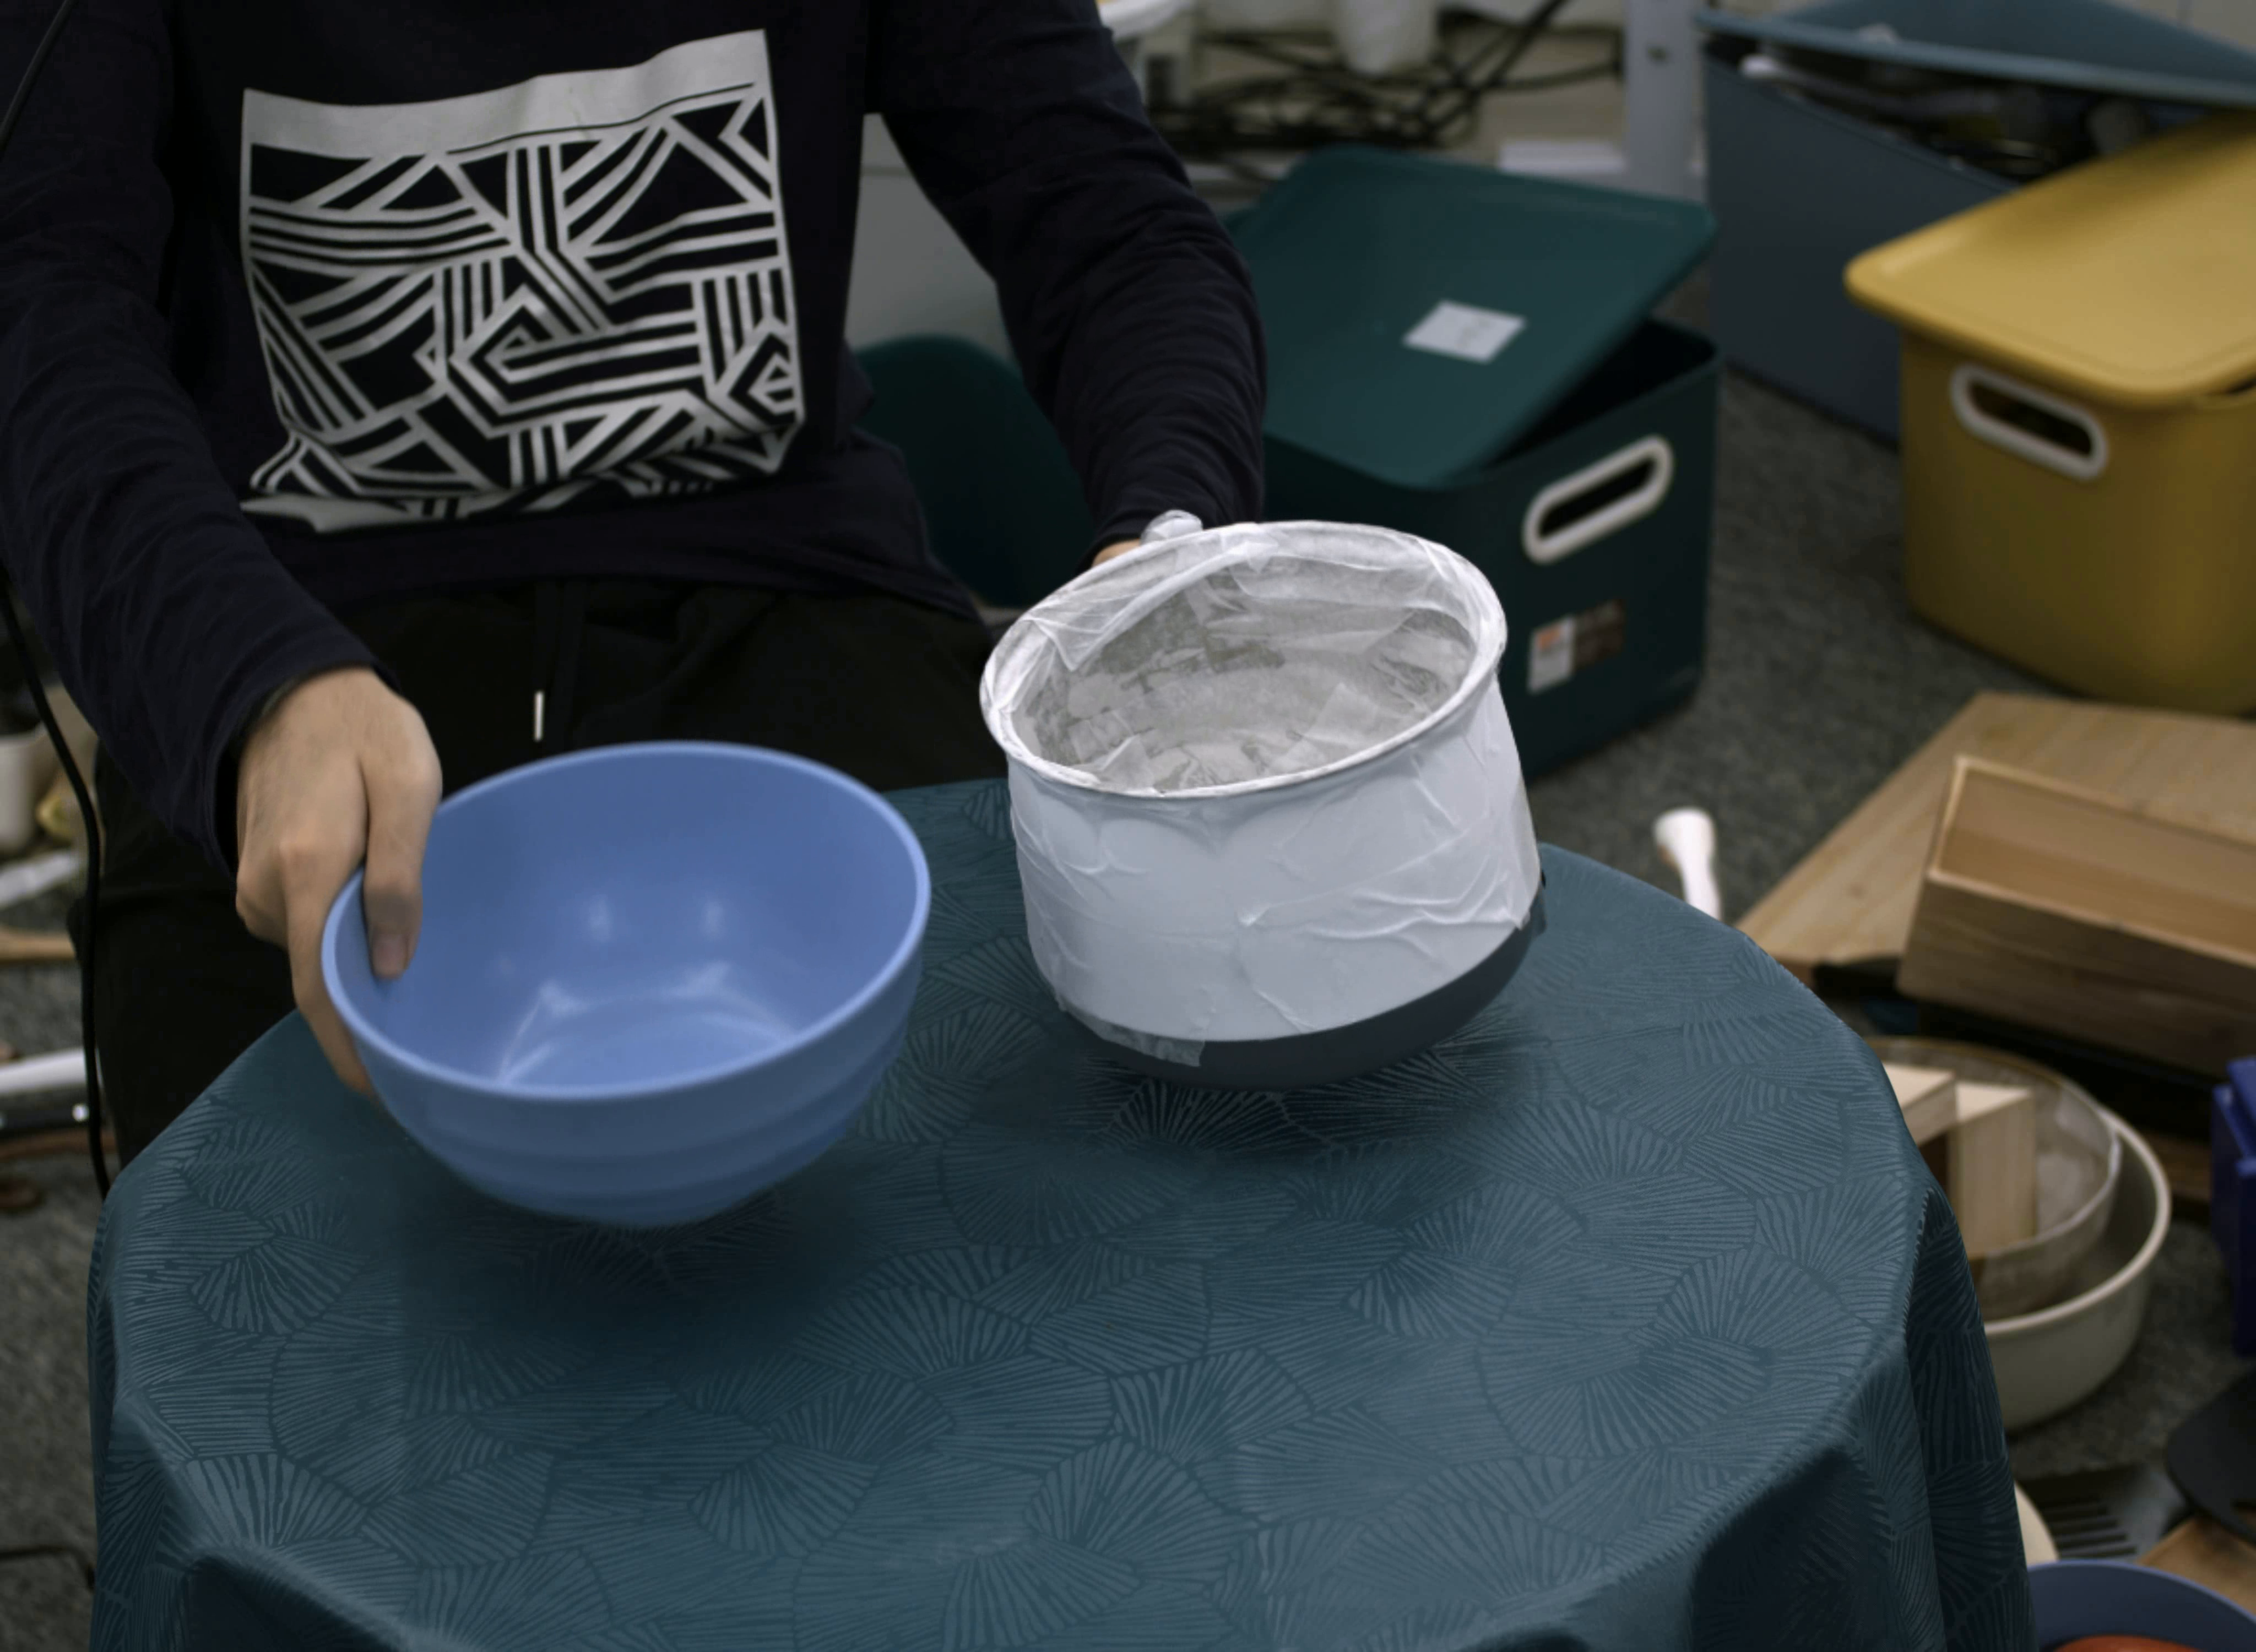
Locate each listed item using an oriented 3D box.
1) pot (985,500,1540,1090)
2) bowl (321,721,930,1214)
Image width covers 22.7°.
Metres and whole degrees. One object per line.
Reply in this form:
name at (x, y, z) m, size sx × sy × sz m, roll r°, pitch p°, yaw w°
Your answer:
pot at (0.040, -0.019, 1.922) m, size 0.178 × 0.135 × 0.236 m, roll -13°, pitch 31°, yaw -10°
bowl at (-0.157, 0.060, 1.819) m, size 0.195 × 0.094 × 0.200 m, roll -3°, pitch 36°, yaw 3°
